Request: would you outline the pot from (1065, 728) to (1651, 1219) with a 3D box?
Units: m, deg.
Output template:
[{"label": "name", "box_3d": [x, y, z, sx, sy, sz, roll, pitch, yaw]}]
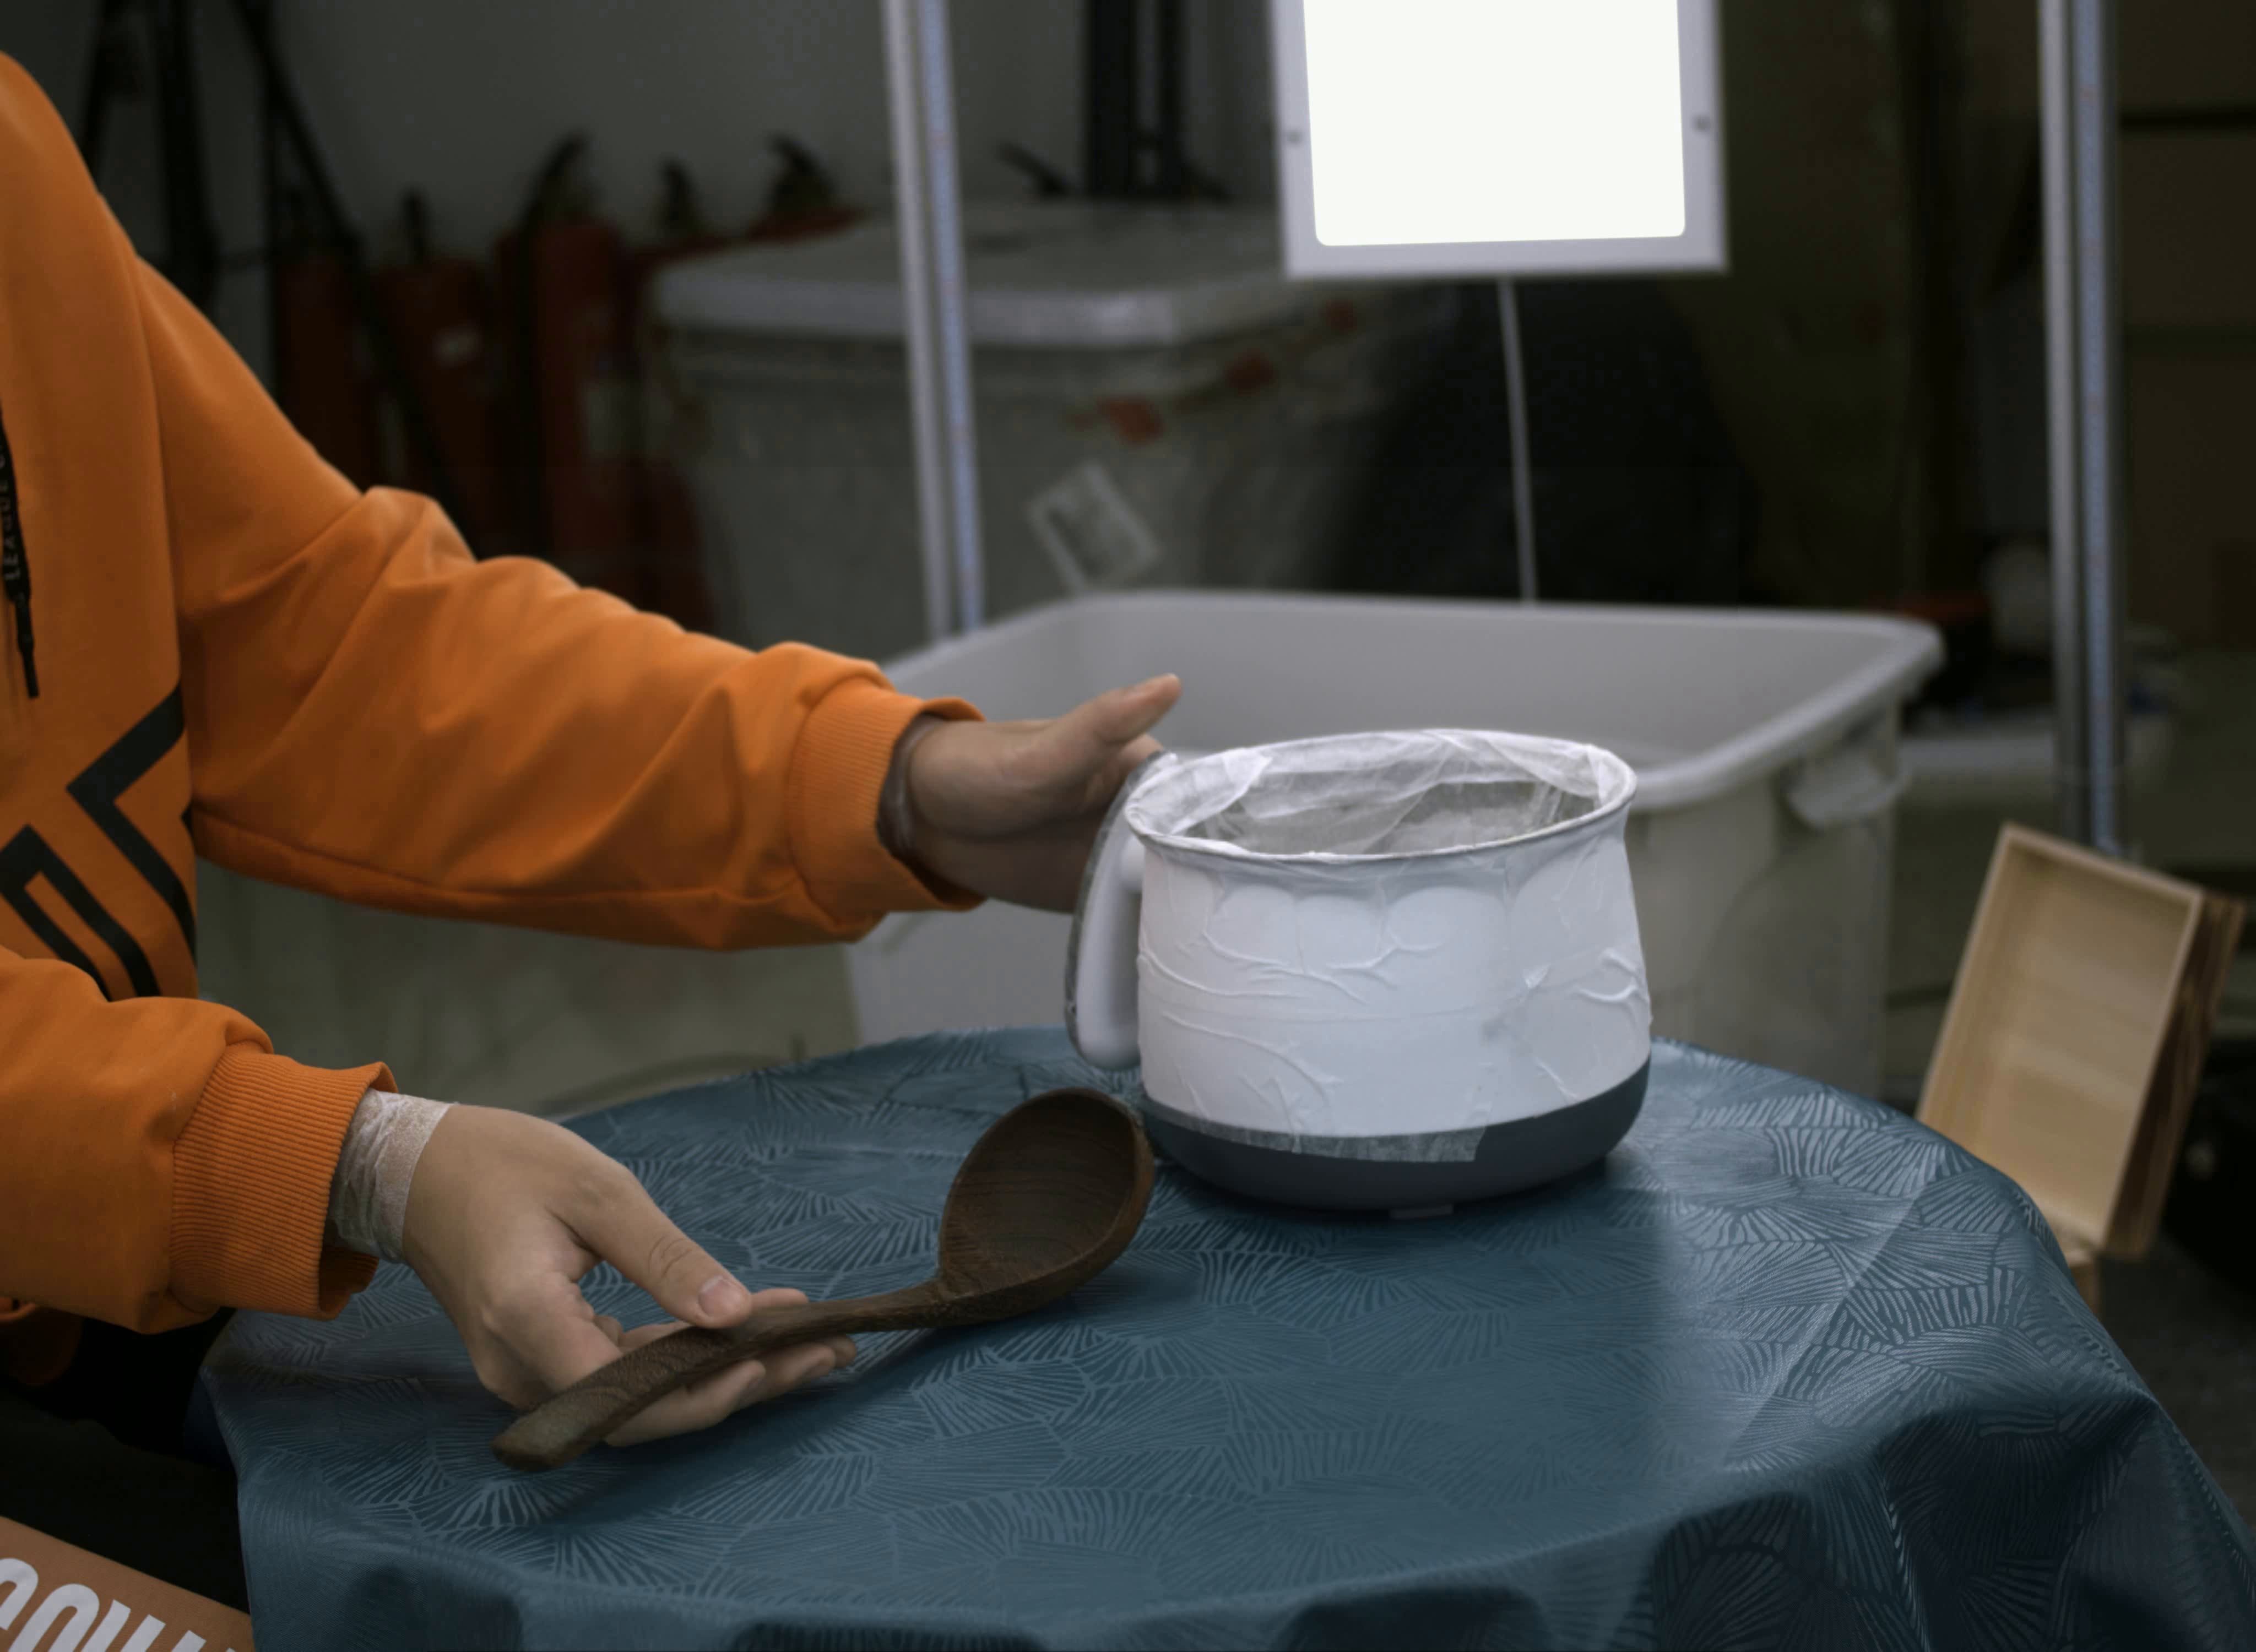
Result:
[{"label": "pot", "box_3d": [0.070, 0.046, 1.910, 0.239, 0.137, 0.174, 8, 18, 41]}]

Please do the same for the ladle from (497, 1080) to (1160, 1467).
[{"label": "ladle", "box_3d": [-0.093, 0.135, 1.722, 0.077, 0.071, 0.267, 6, 12, 41]}]
